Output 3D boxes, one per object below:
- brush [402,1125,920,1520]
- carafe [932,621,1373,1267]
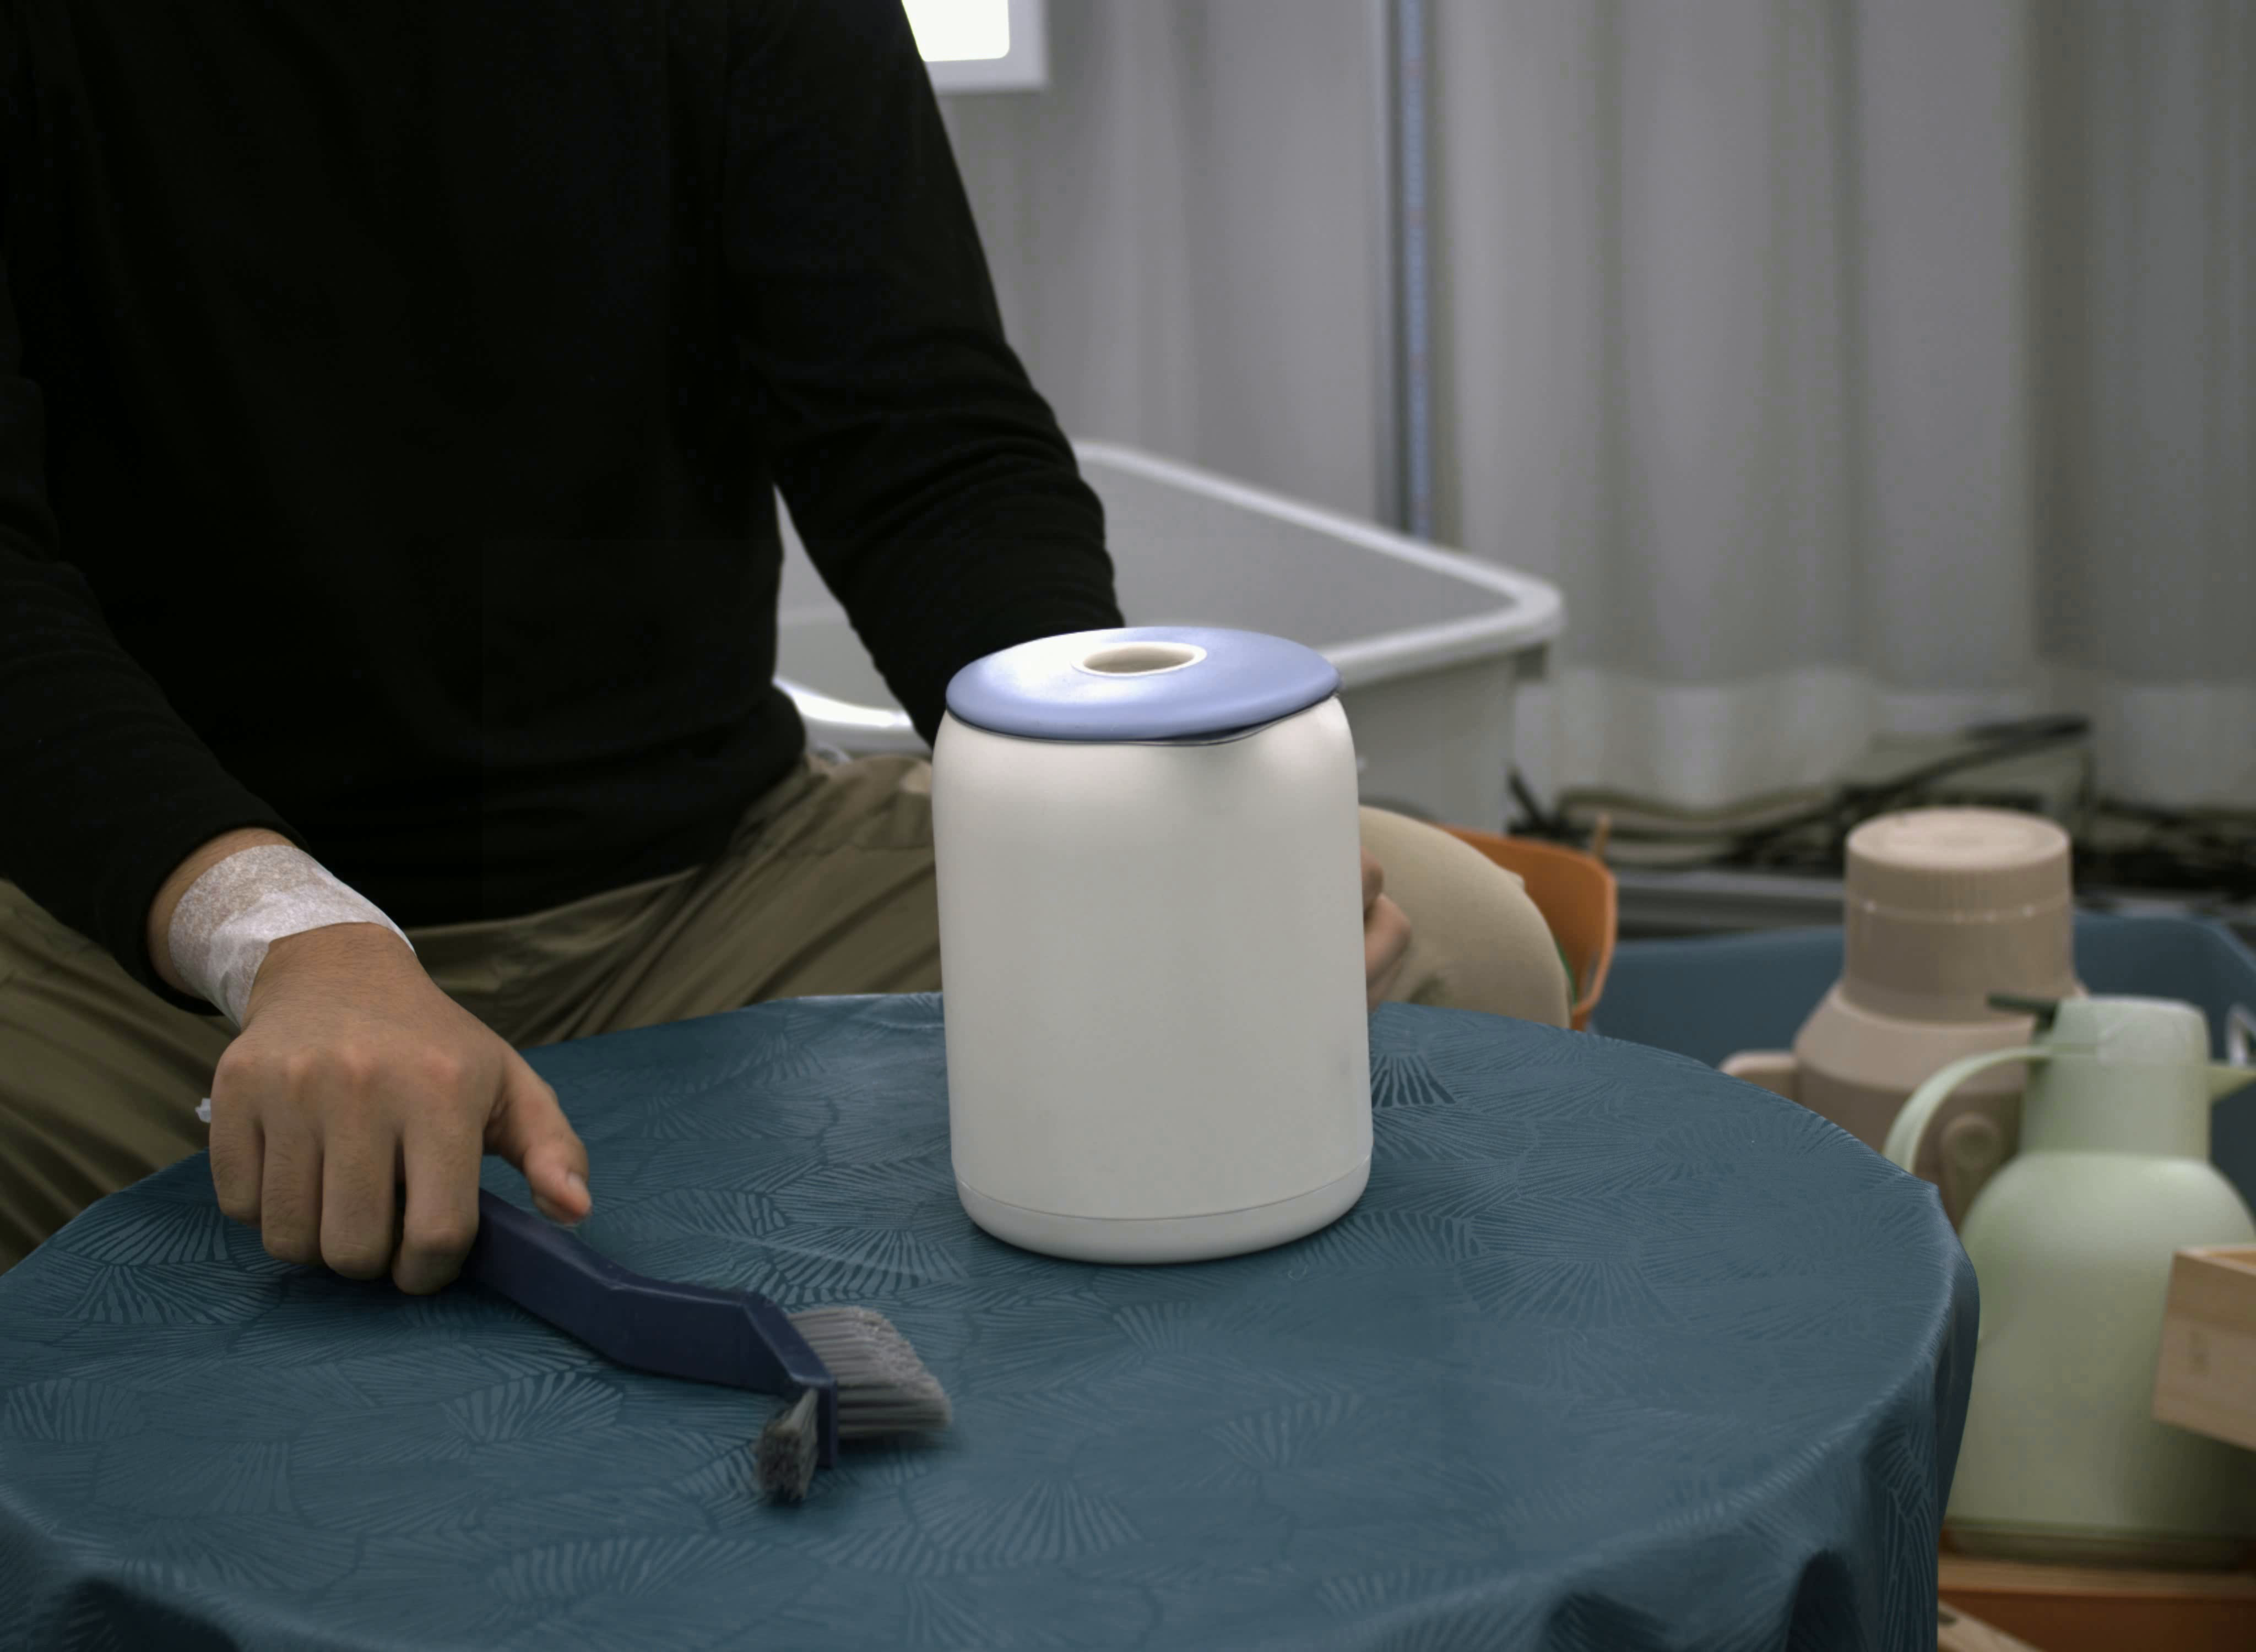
[{"bbox_3d":[-0.157,0.140,1.591,0.095,0.033,0.275,-18,21,-38],"label":"brush"},{"bbox_3d":[-0.002,0.030,1.703,0.131,0.182,0.192,-8,14,-21],"label":"carafe"}]
